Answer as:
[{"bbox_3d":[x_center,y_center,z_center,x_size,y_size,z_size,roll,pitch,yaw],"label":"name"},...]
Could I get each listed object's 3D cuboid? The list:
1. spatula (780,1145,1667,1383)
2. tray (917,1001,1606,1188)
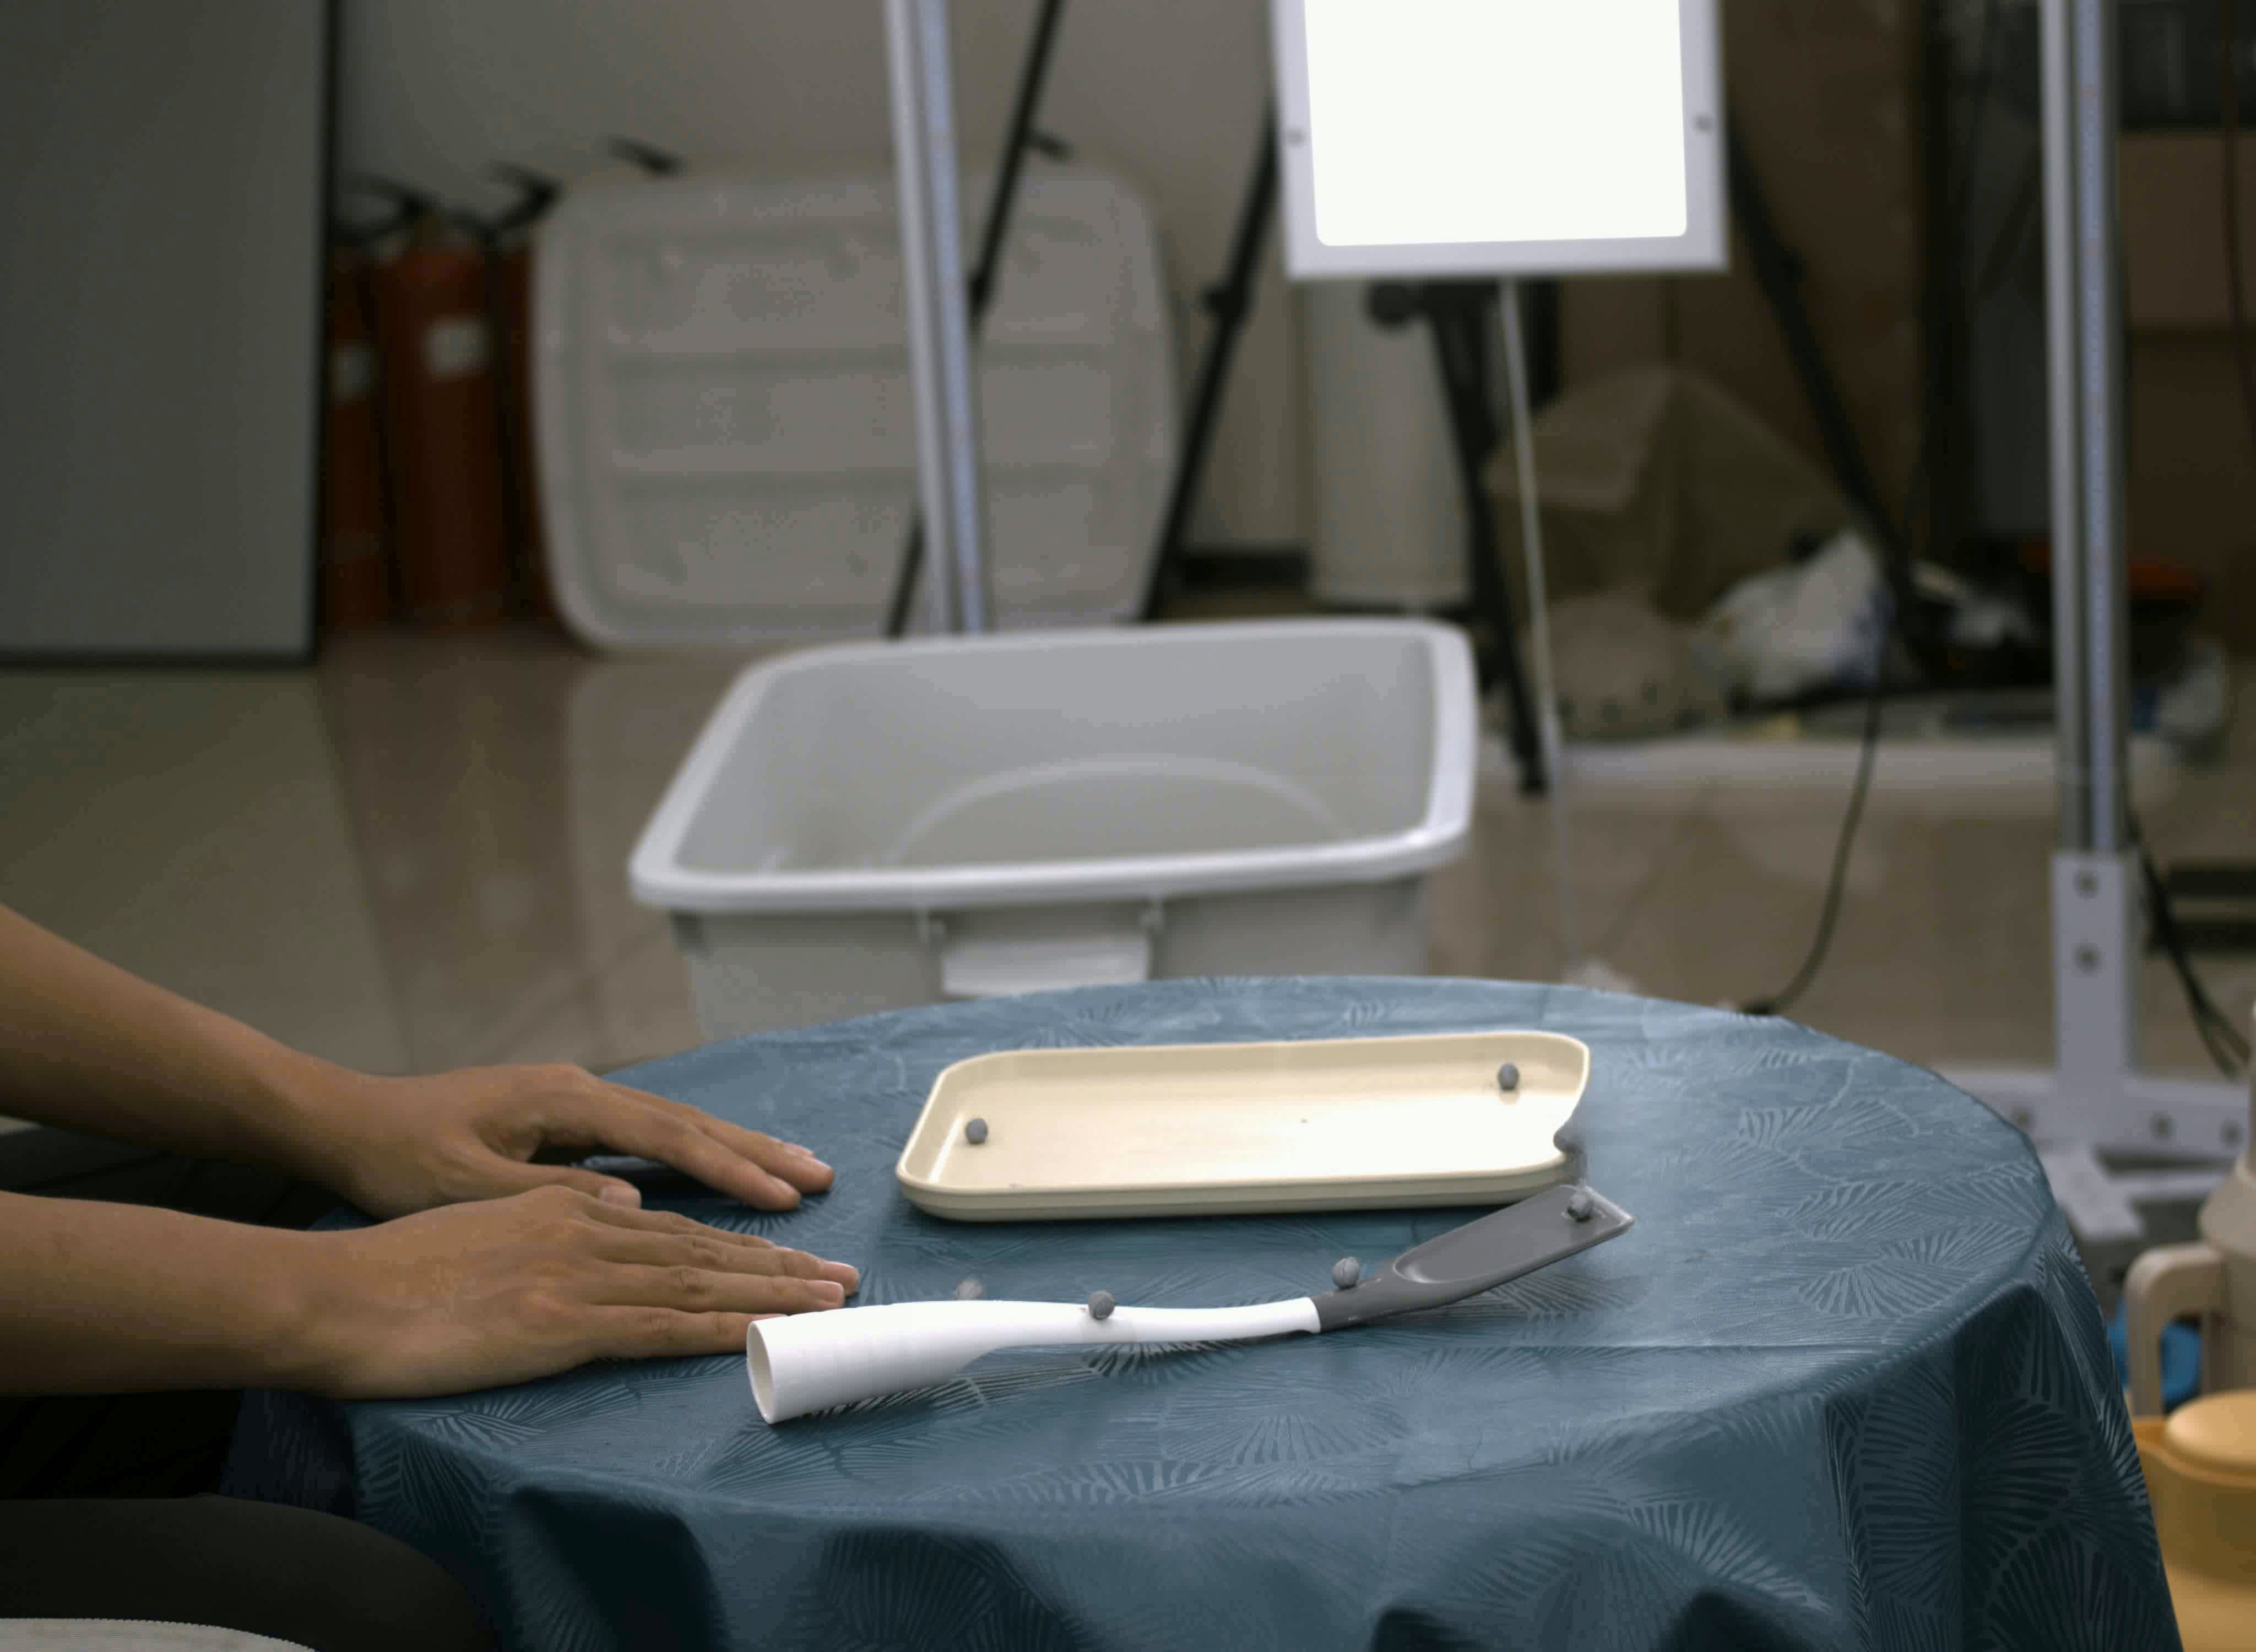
[{"bbox_3d":[0.032,0.137,1.741,0.283,0.032,0.059,-8,10,-14],"label":"spatula"},{"bbox_3d":[0.050,0.096,1.945,0.241,0.017,0.170,-3,13,8],"label":"tray"}]
